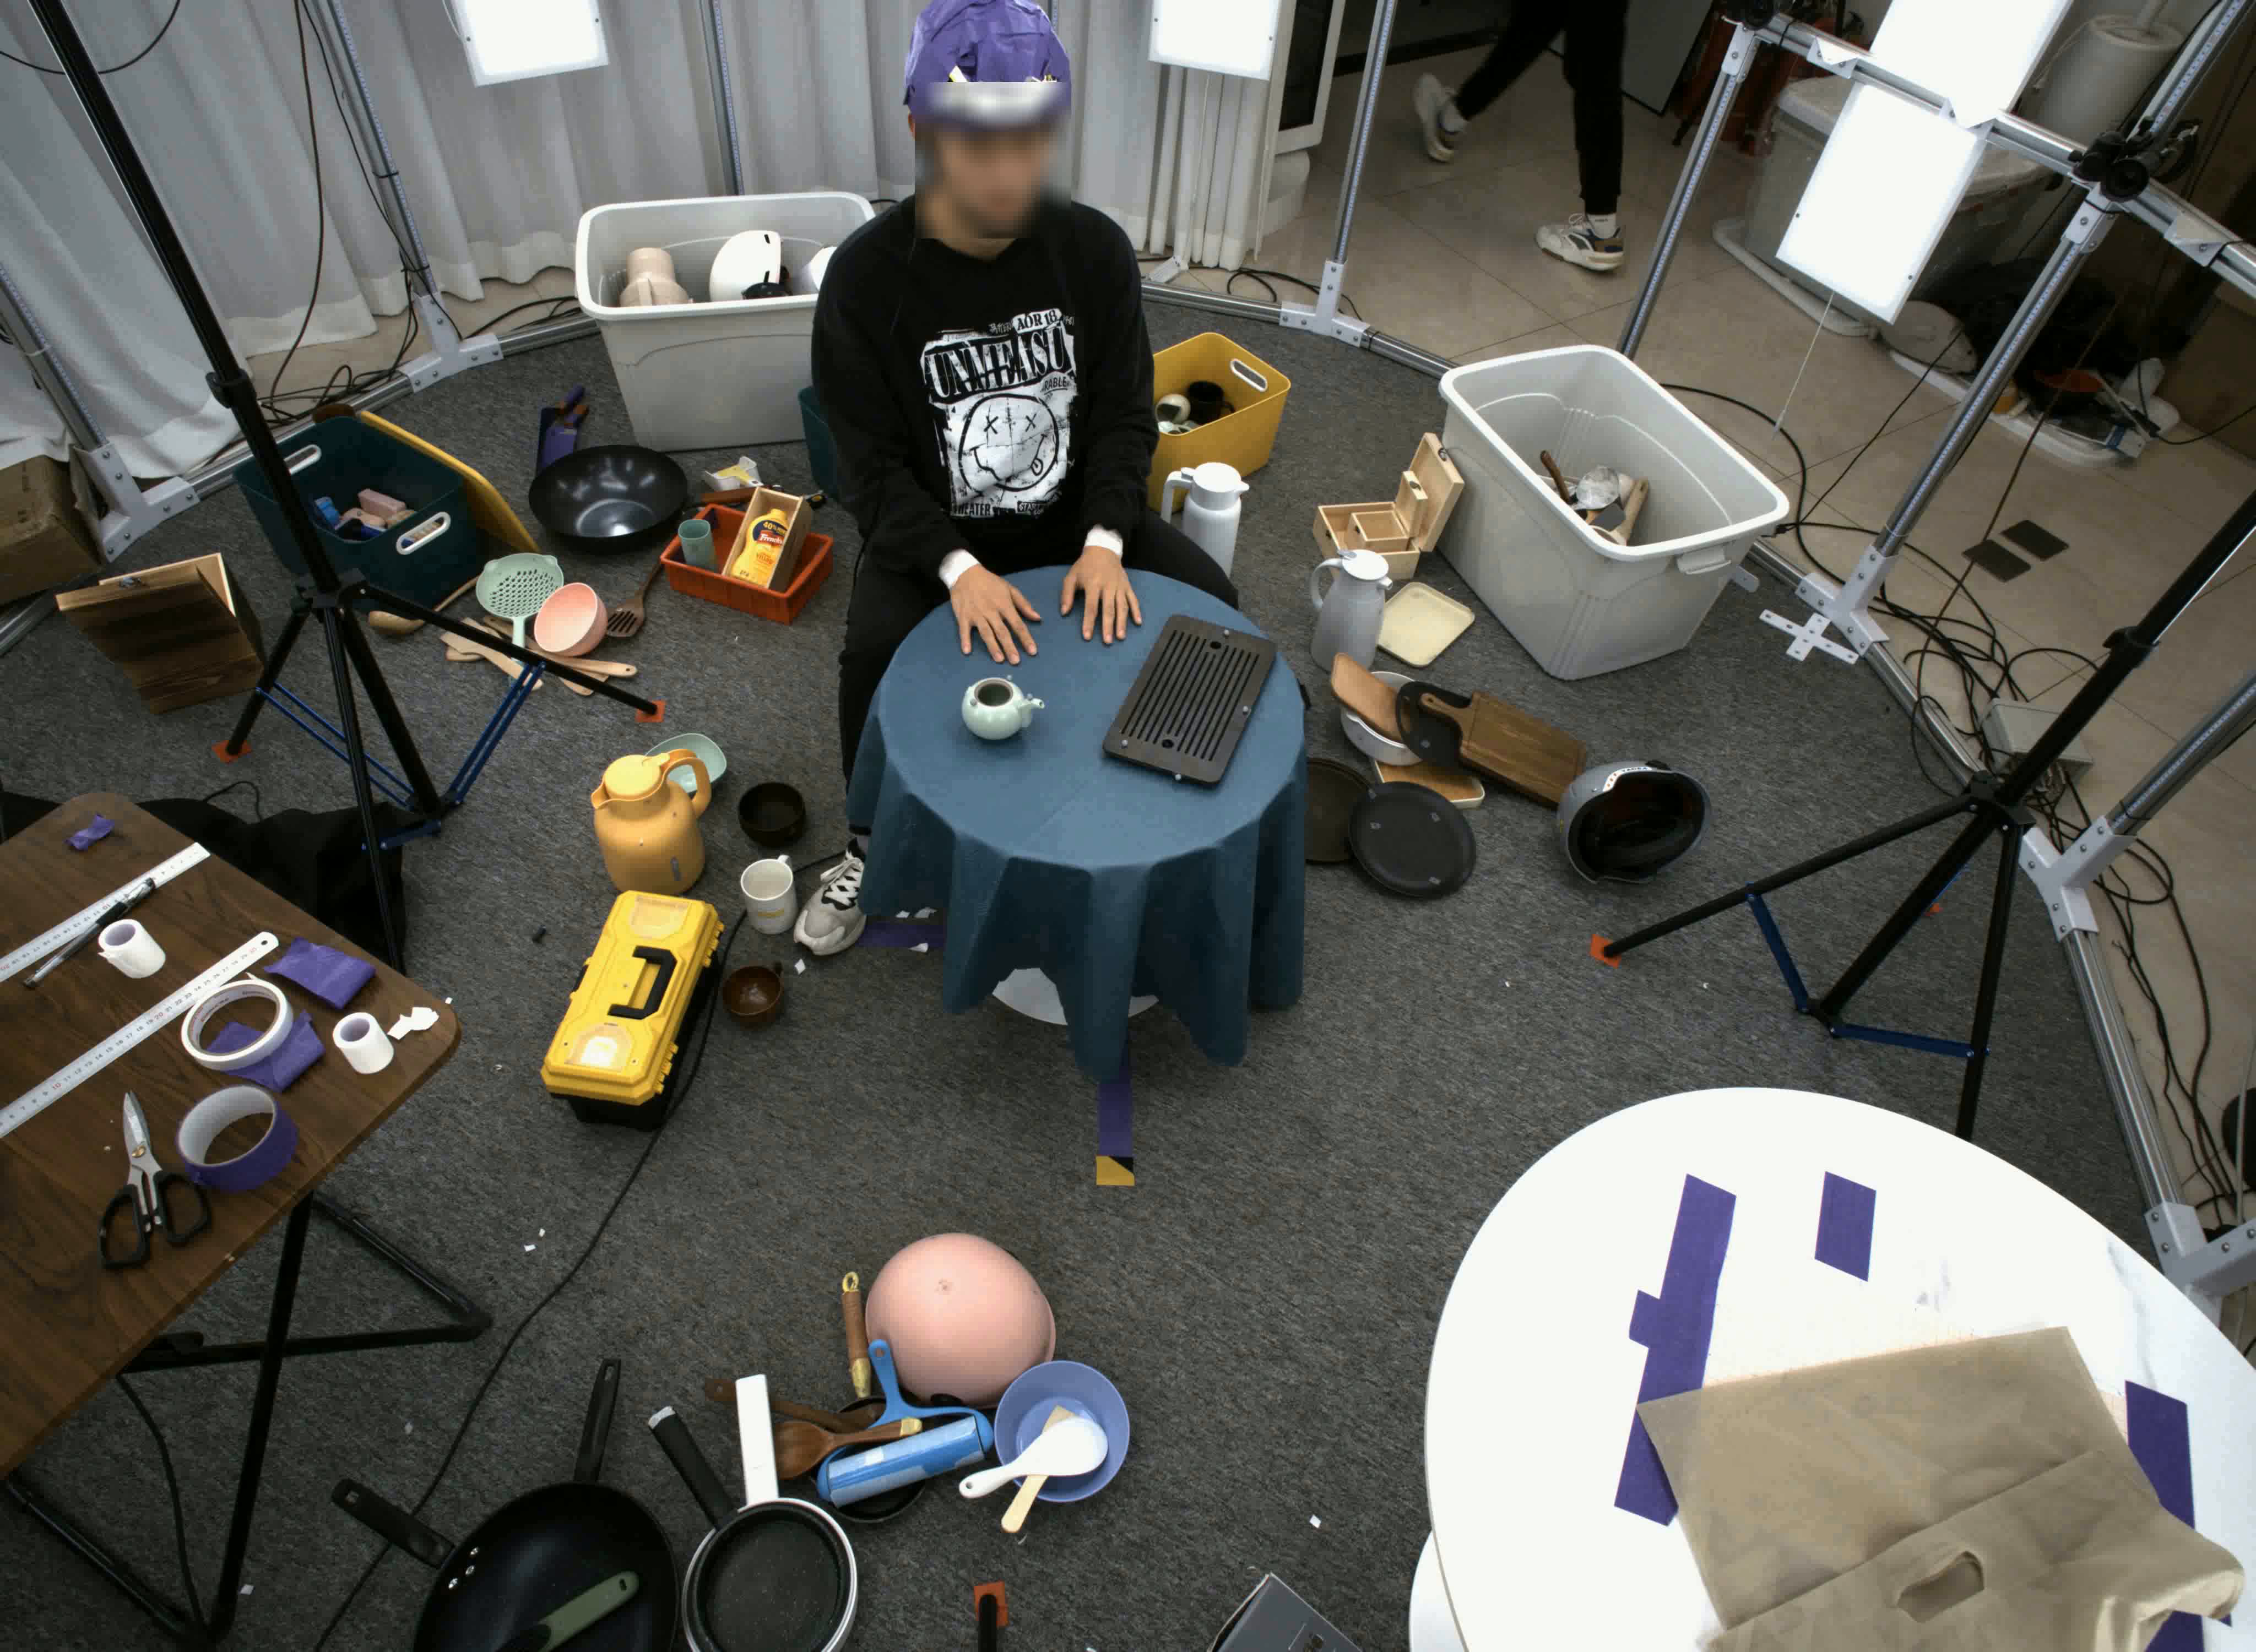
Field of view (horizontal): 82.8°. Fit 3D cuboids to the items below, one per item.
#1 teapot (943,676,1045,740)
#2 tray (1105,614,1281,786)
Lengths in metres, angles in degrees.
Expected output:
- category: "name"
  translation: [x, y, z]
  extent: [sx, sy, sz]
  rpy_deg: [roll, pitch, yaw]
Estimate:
- category: "teapot"
  translation: [-0.182, -0.161, 1.751]
  extent: [0.144, 0.073, 0.090]
  rpy_deg: [18, 50, 9]
- category: "tray"
  translation: [0.097, -0.183, 1.822]
  extent: [0.171, 0.018, 0.312]
  rpy_deg: [17, 50, 12]
